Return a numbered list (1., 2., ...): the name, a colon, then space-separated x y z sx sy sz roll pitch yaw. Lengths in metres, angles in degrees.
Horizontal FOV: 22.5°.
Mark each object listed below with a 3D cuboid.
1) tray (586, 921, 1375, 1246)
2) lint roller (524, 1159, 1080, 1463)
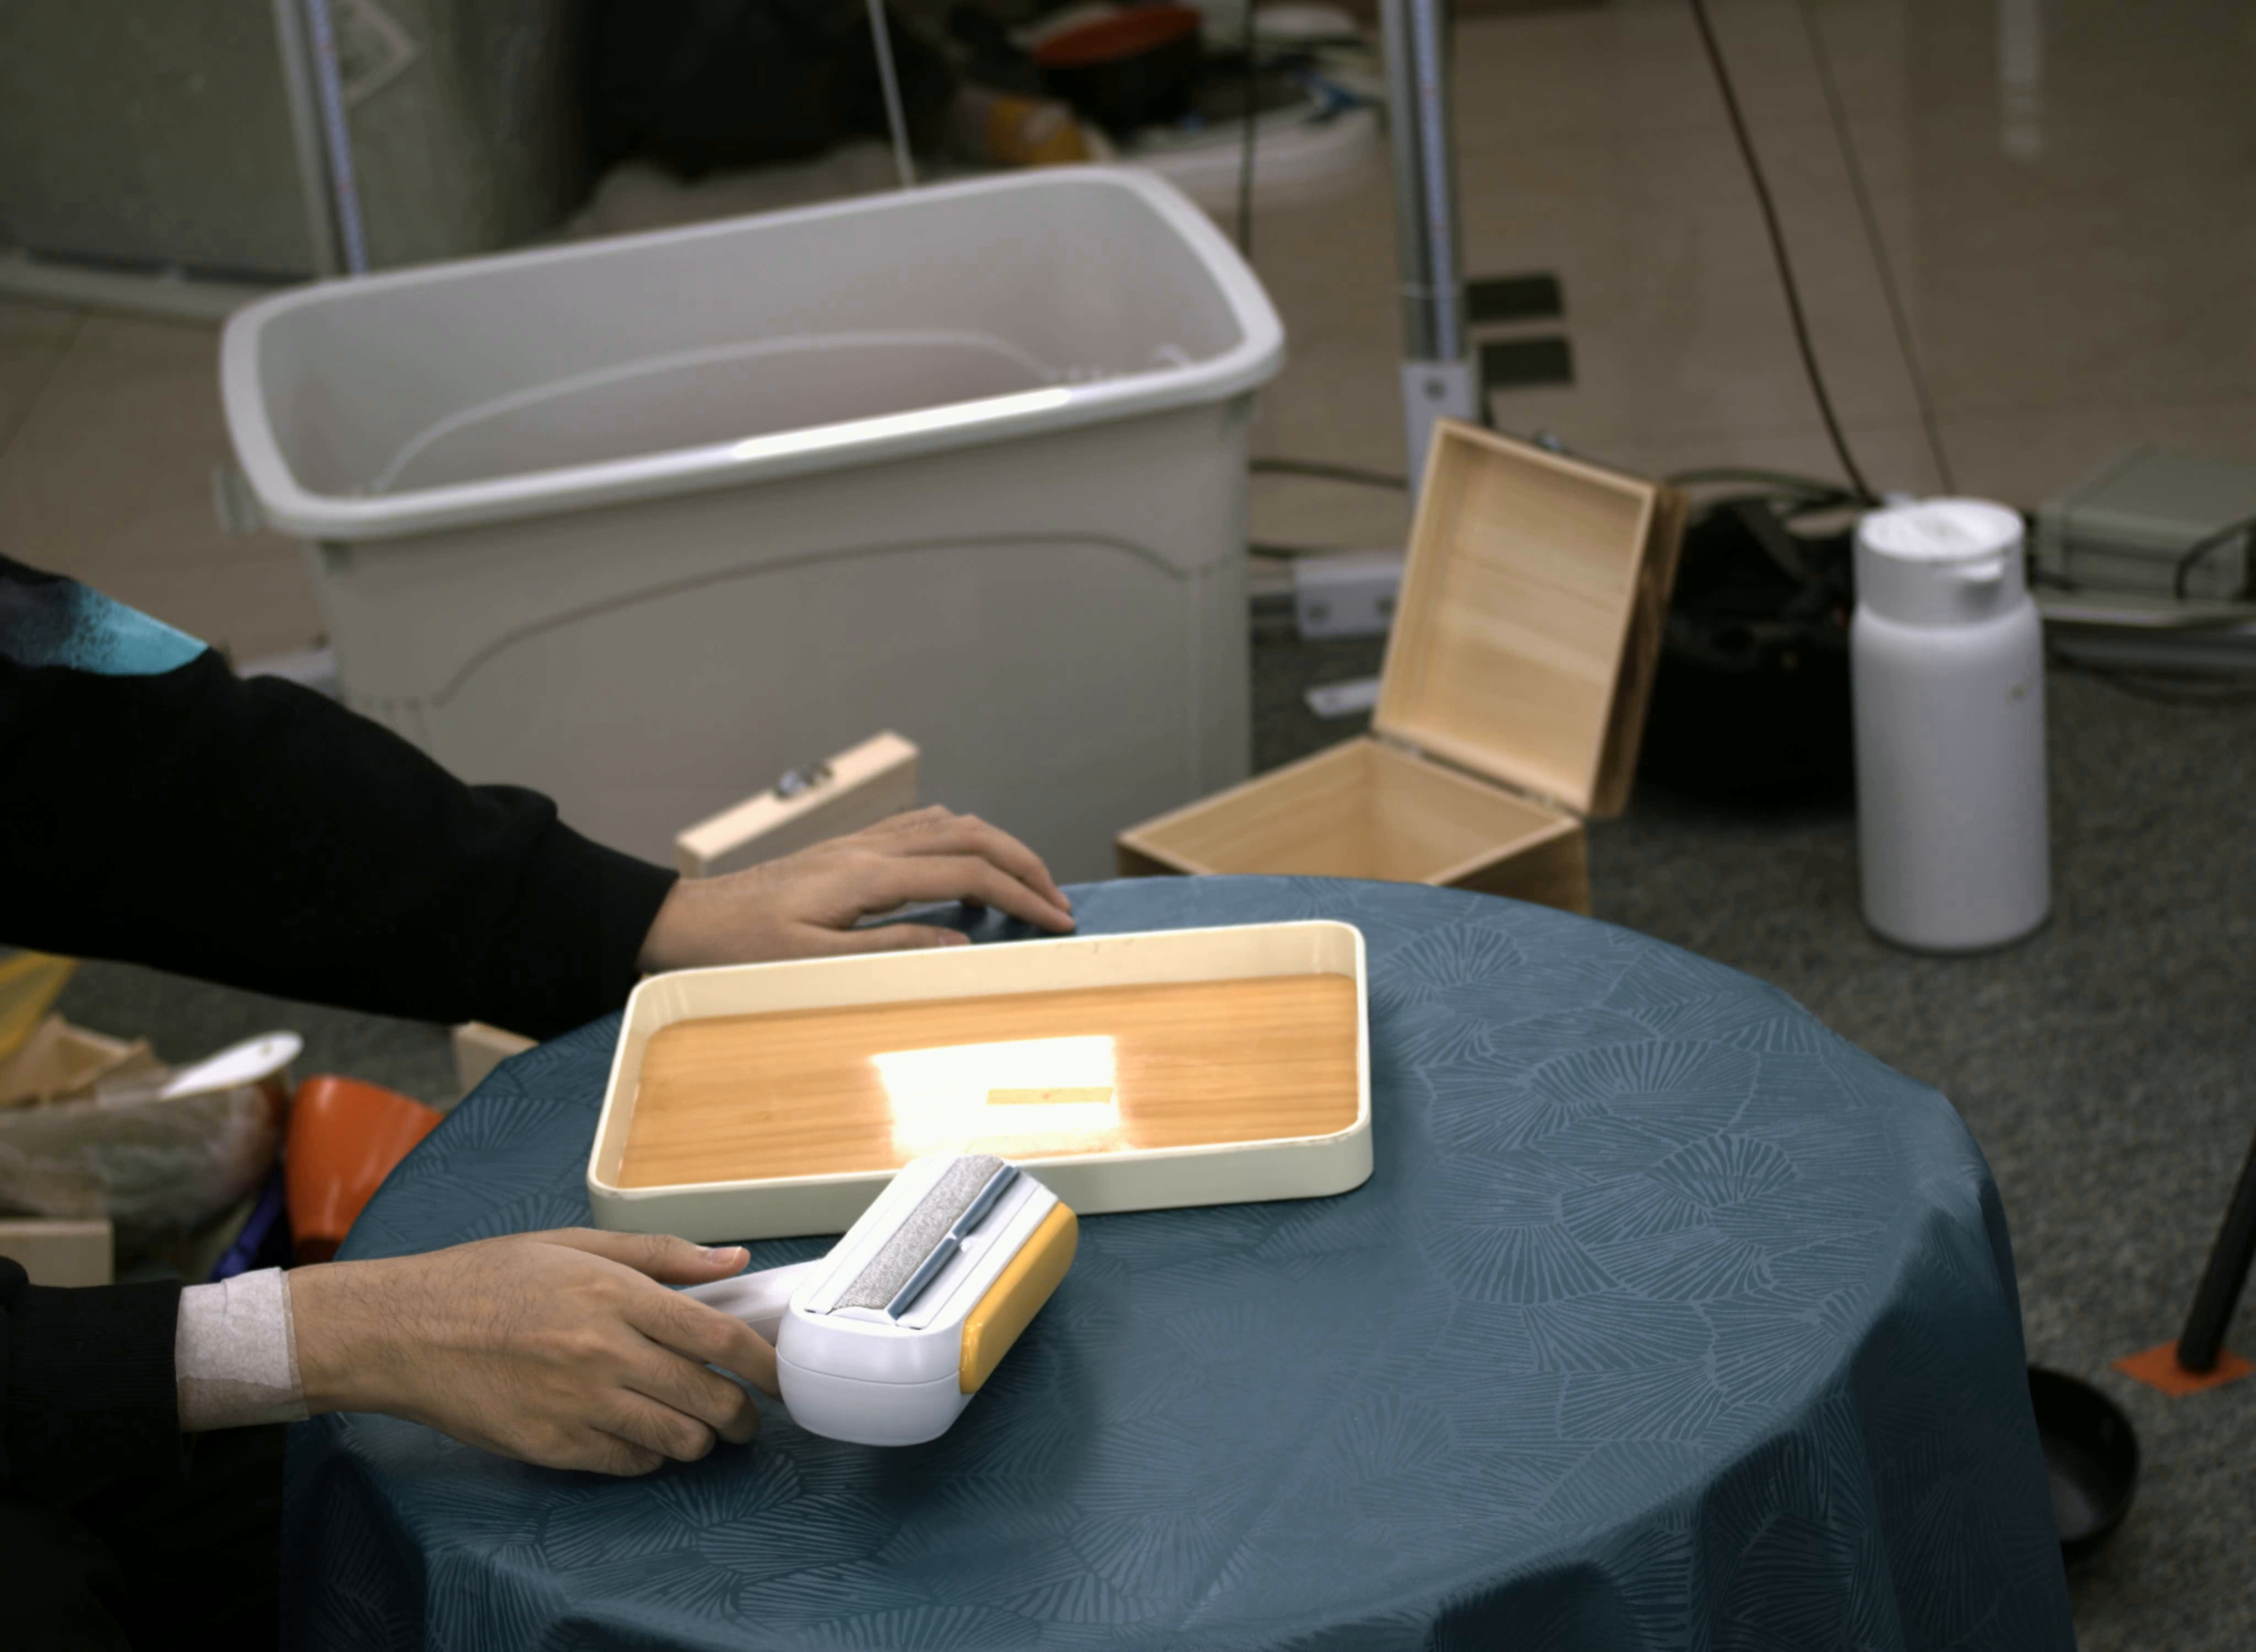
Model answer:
1. tray: -0.054 0.099 2.211 0.300 0.028 0.189 -5 24 4
2. lint roller: -0.128 0.174 2.019 0.192 0.075 0.190 0 20 18
